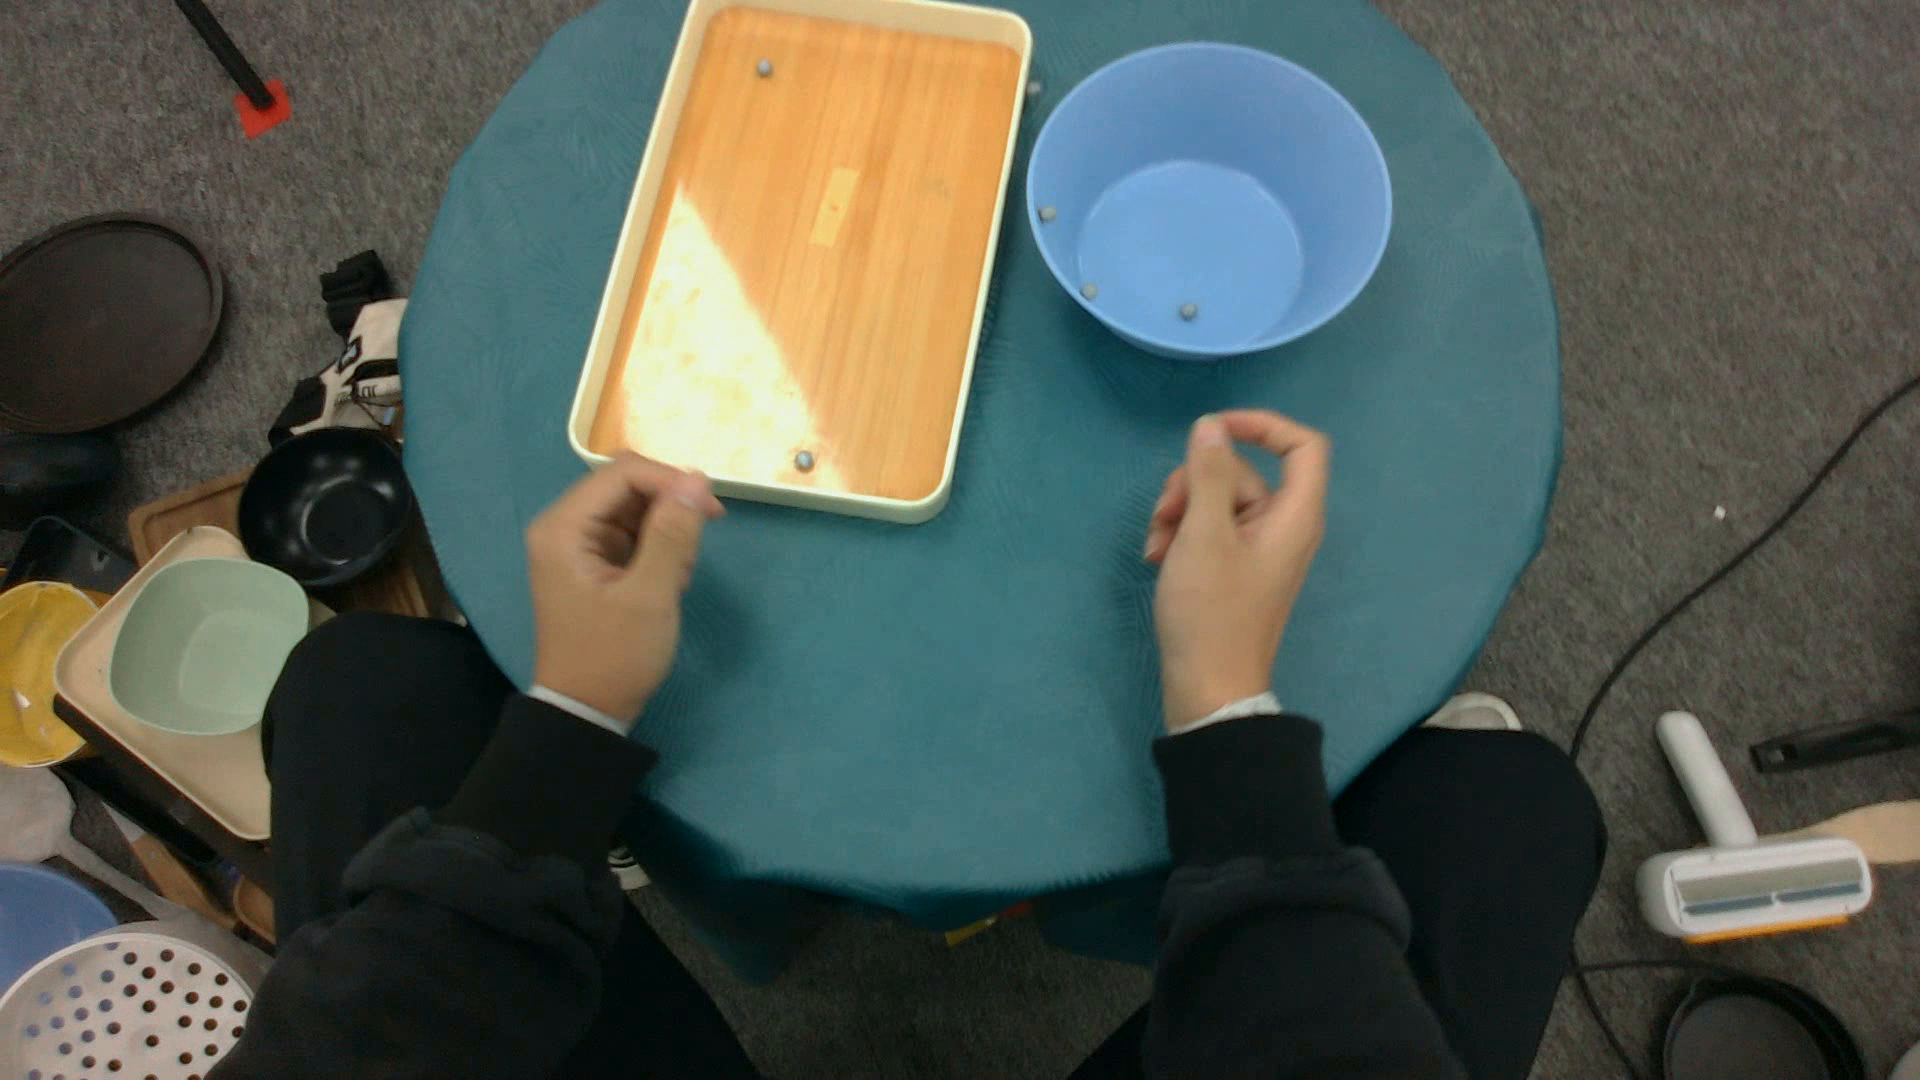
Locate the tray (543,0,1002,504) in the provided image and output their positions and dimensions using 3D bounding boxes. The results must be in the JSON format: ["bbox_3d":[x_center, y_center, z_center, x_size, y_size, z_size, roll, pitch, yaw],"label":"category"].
[{"bbox_3d":[-0.090,-0.171,0.720,0.191,0.027,0.301,8,70,2],"label":"tray"}]

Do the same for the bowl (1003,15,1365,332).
[{"bbox_3d":[0.110,-0.173,0.699,0.176,0.070,0.176,0,71,1],"label":"bowl"}]
